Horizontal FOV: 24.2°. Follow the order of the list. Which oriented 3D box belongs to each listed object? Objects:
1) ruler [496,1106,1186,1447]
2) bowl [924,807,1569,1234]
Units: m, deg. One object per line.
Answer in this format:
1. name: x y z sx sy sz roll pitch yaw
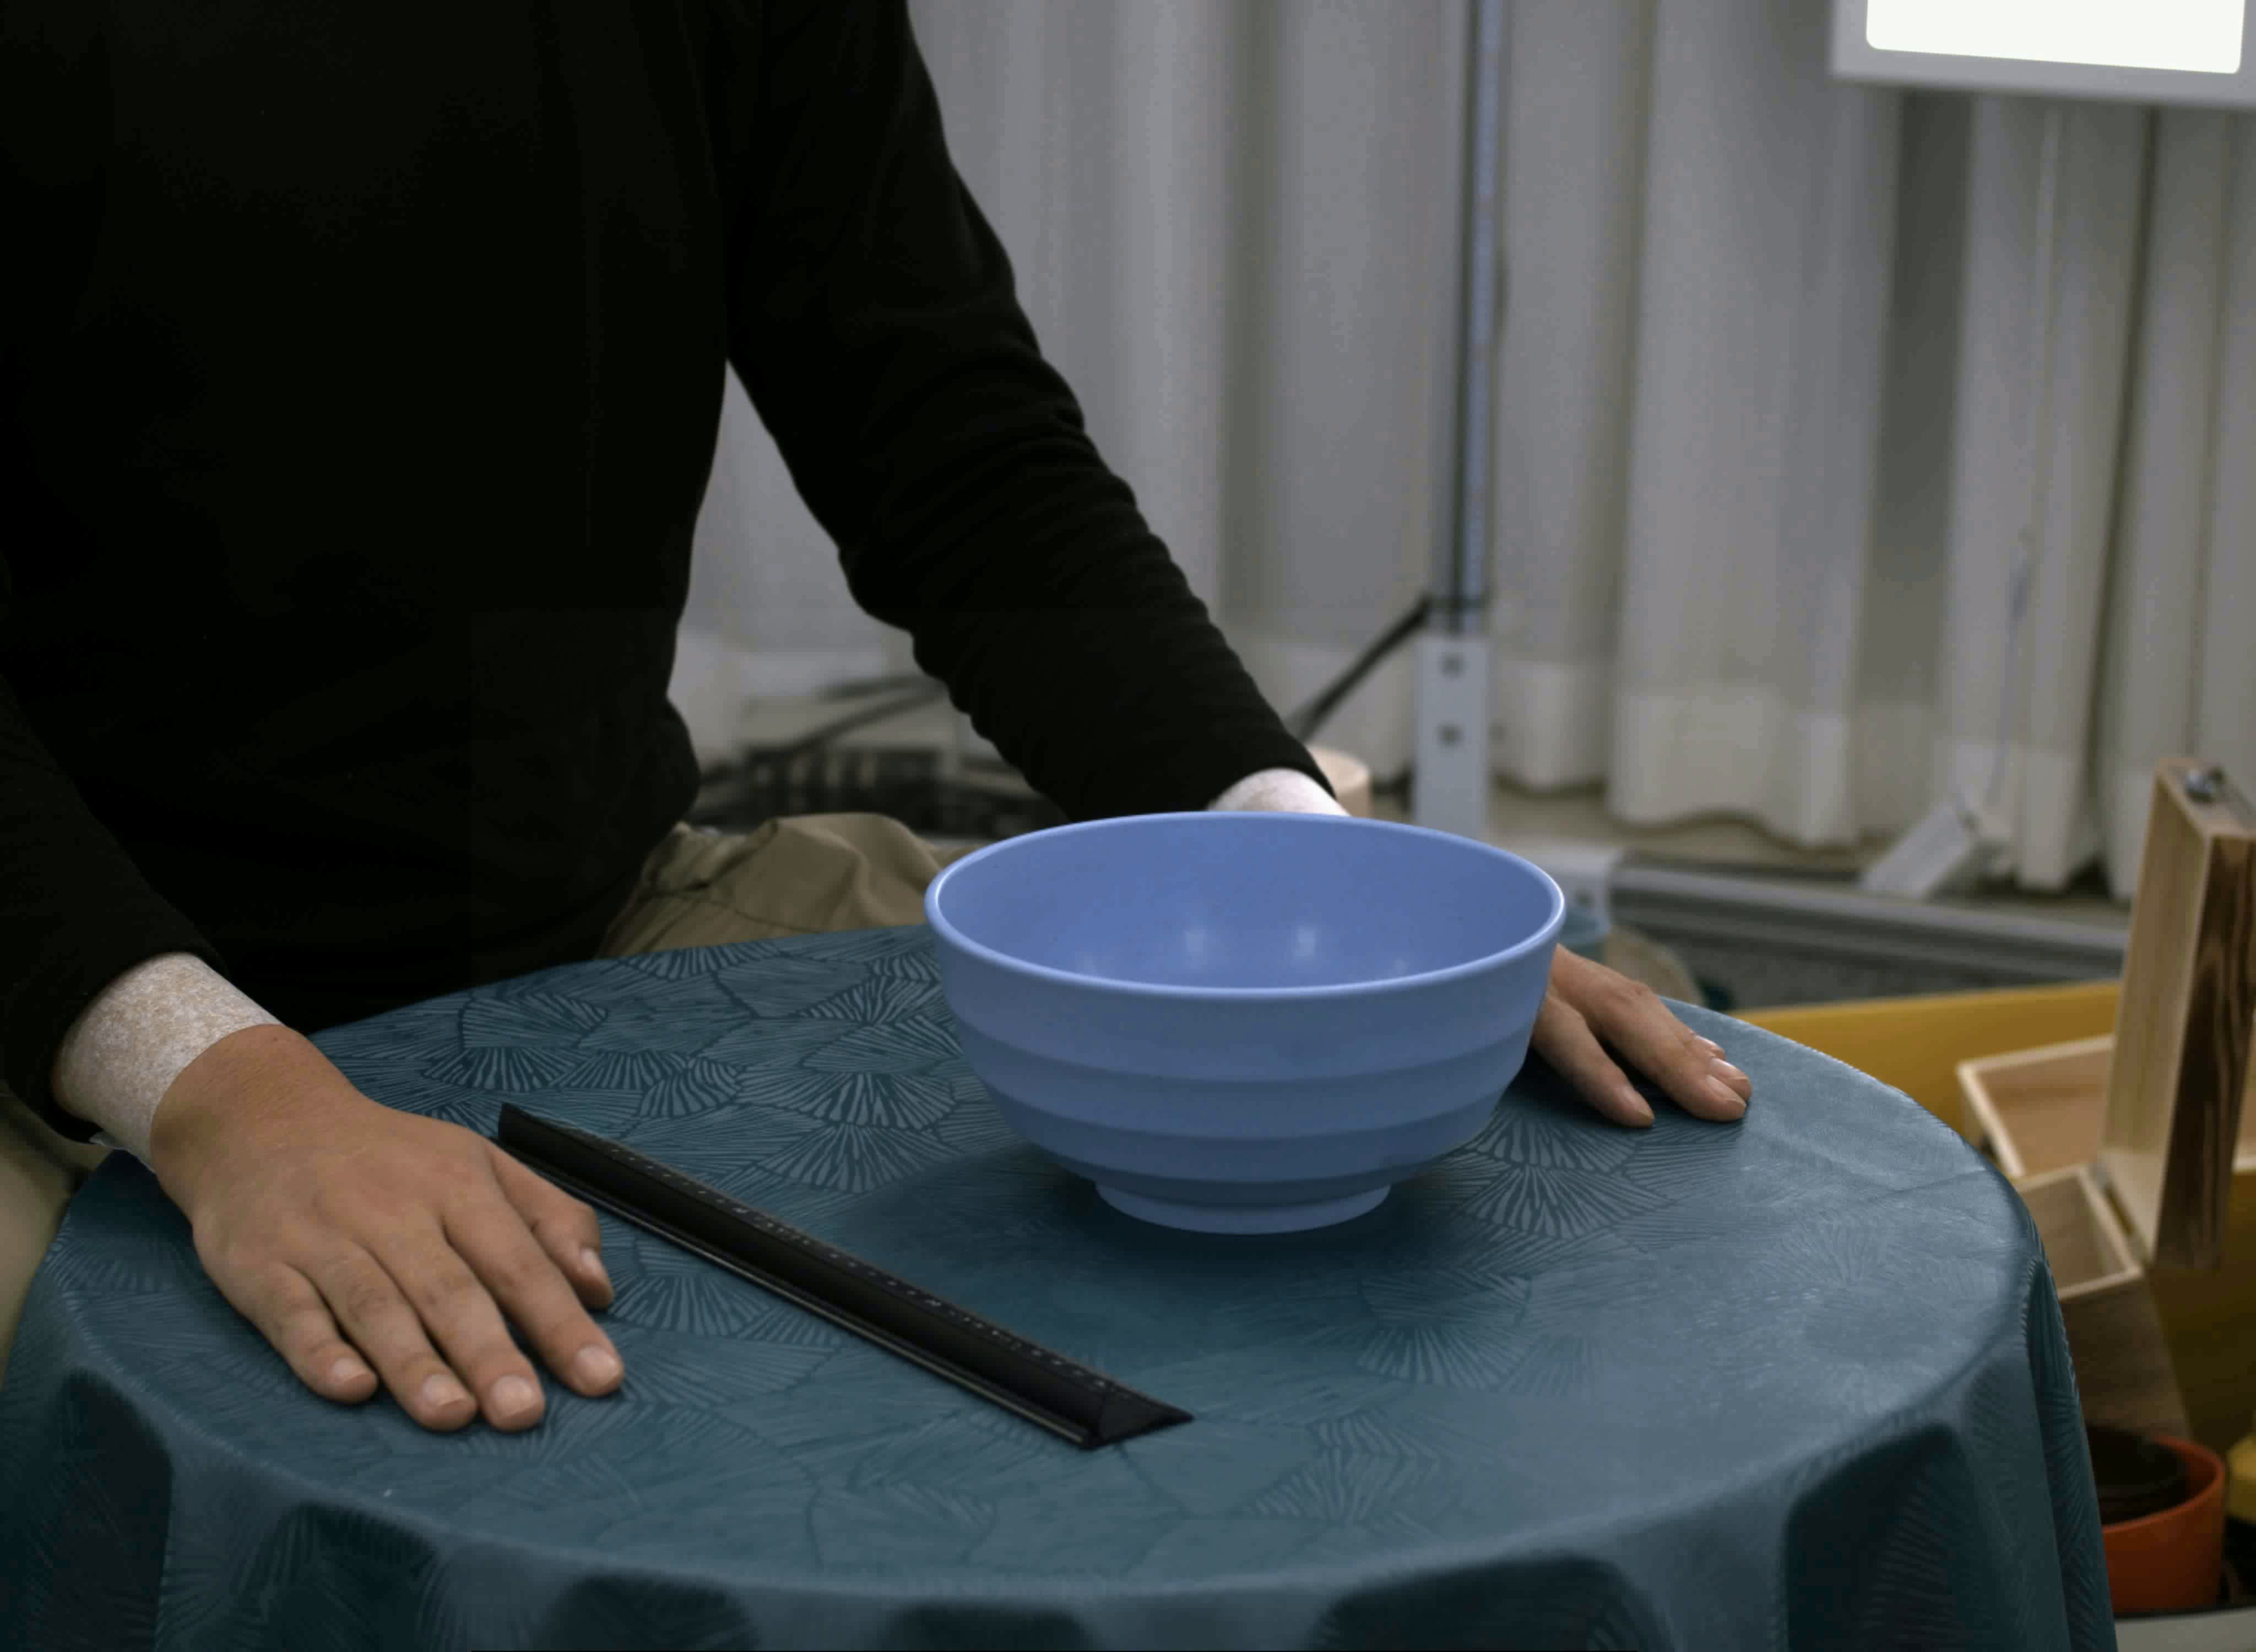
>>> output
1. ruler: -0.090 0.125 1.542 0.039 0.017 0.308 -6 16 -37
2. bowl: 0.035 0.065 1.612 0.196 0.096 0.195 1 16 0
